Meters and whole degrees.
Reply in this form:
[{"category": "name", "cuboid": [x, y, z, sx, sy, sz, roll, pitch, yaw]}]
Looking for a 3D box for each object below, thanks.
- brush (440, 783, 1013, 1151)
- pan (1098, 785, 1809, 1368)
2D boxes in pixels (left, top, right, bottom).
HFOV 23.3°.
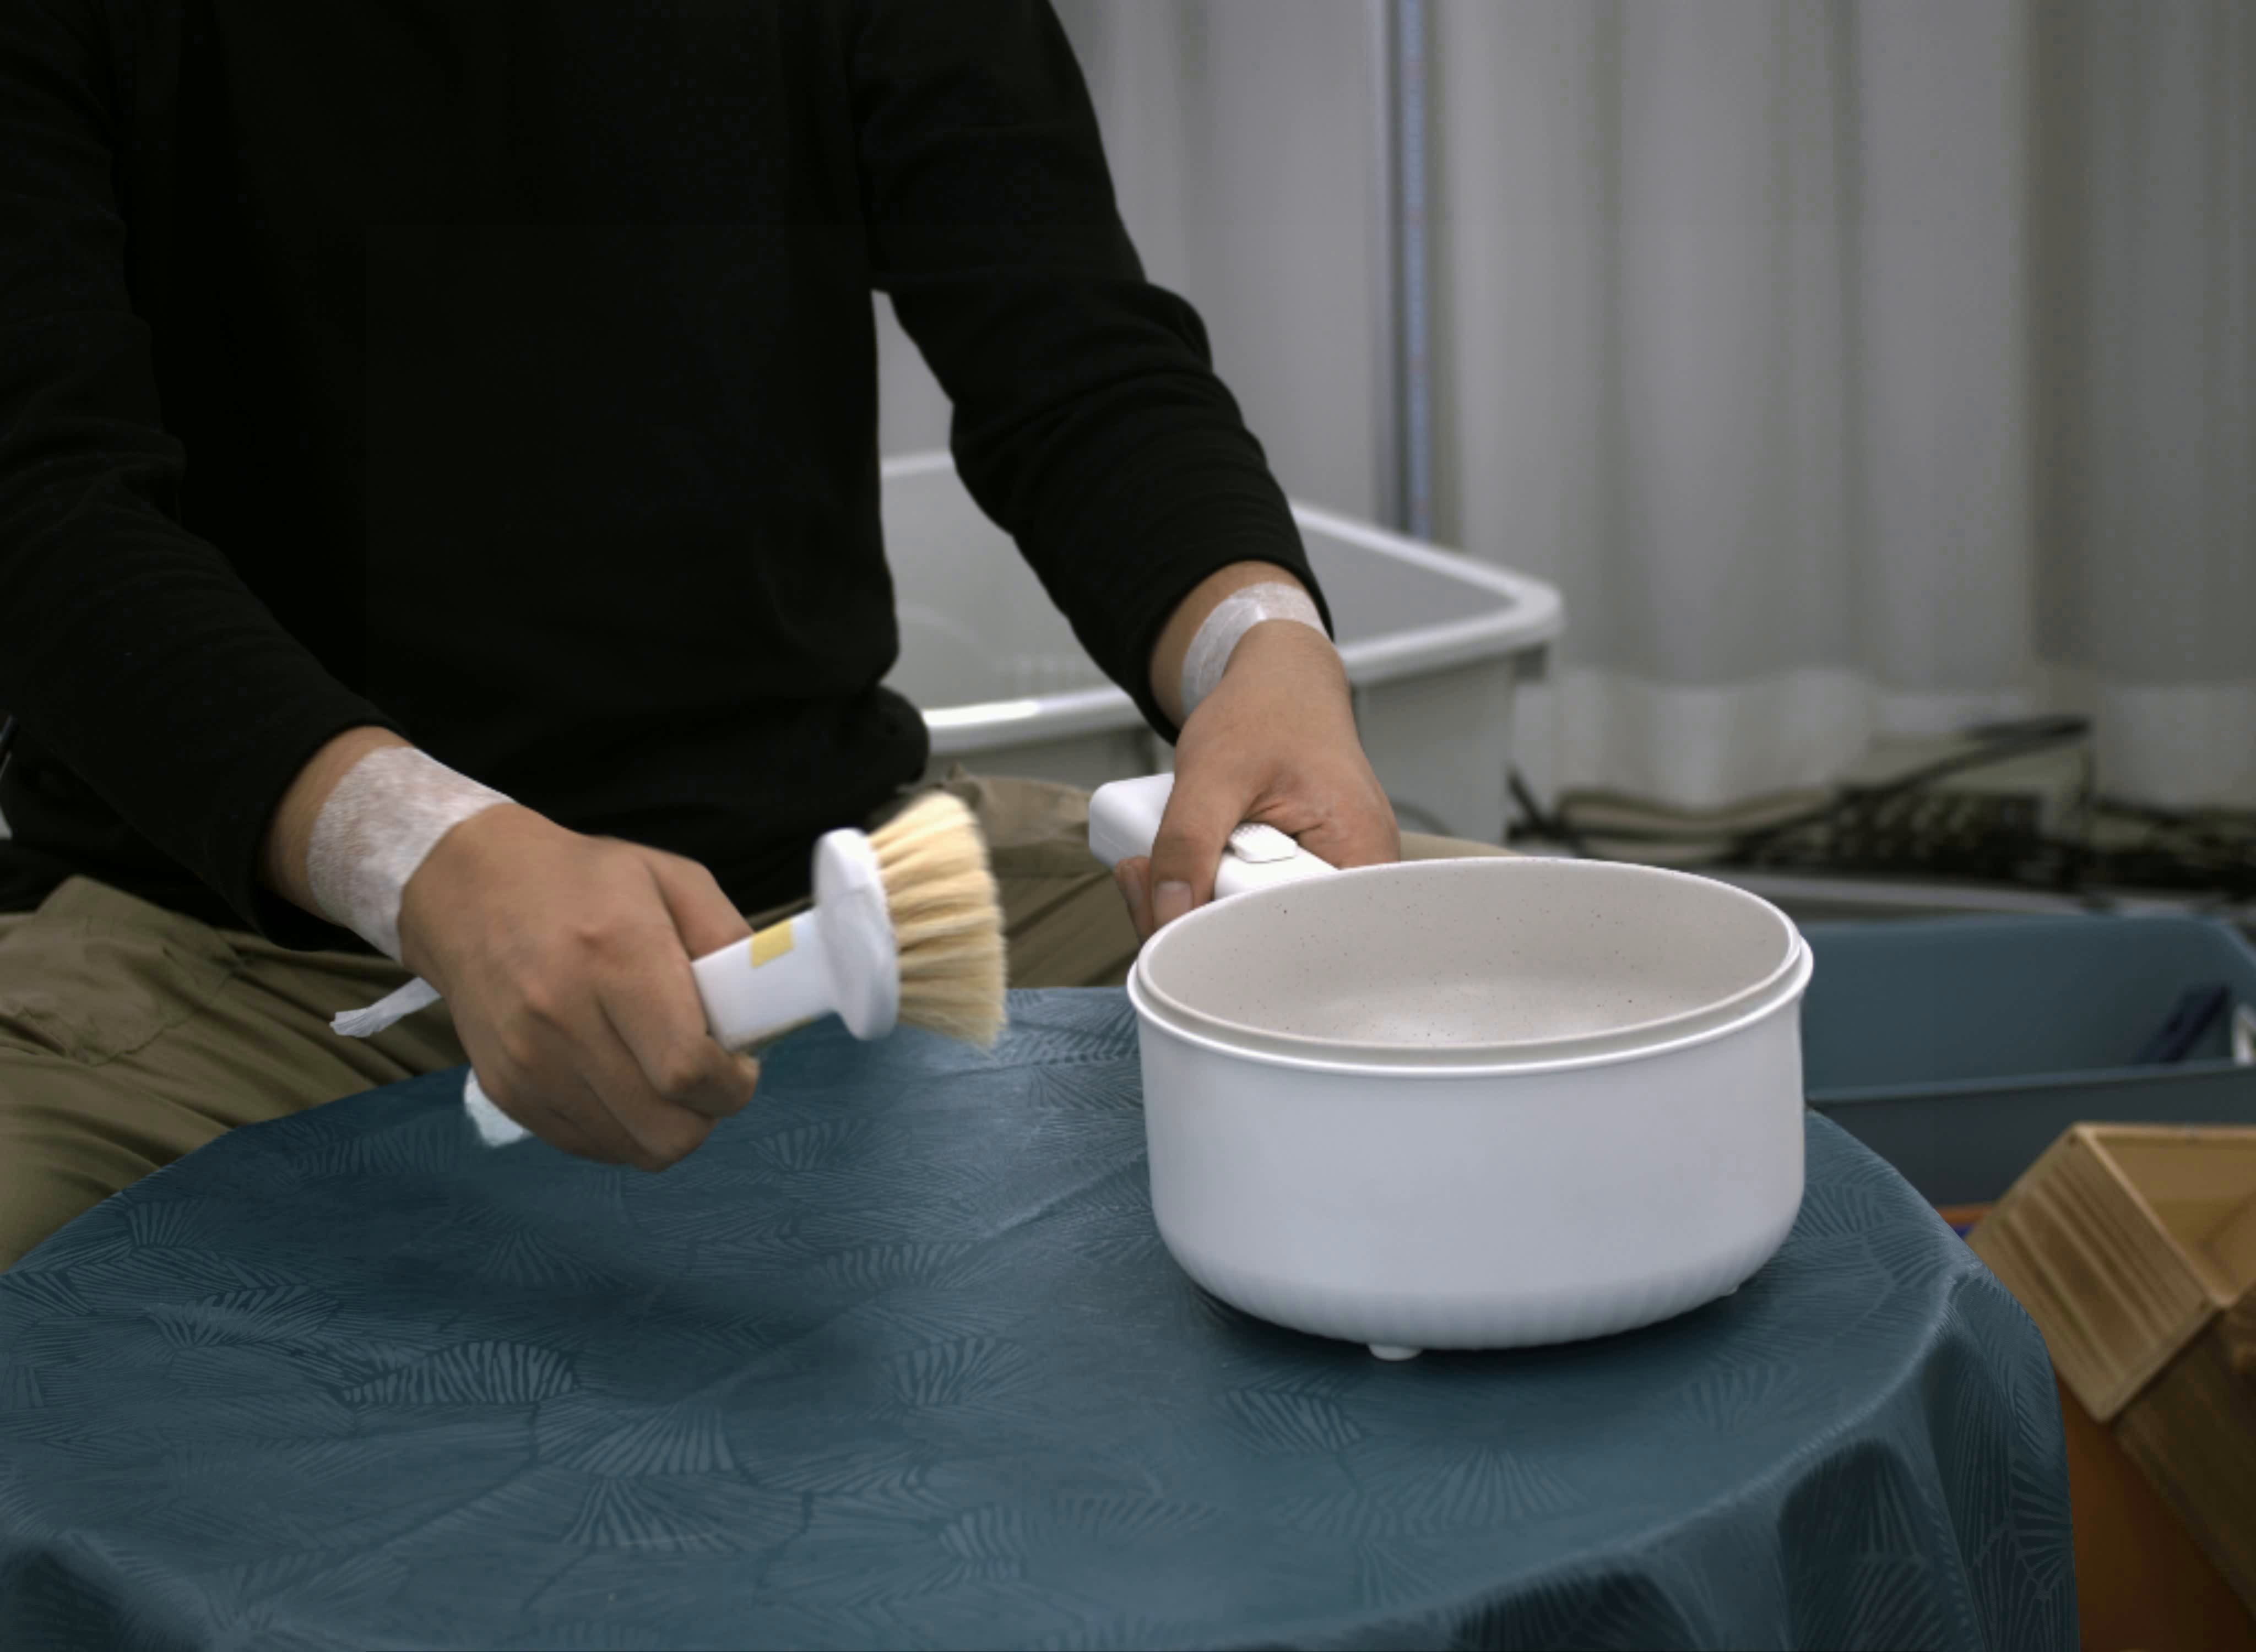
[{"category": "brush", "cuboid": [-0.115, 0.050, 1.598, 0.056, 0.069, 0.265, 6, -21, -35]}, {"category": "pan", "cuboid": [0.073, 0.070, 1.685, 0.200, 0.102, 0.357, -10, 15, -20]}]
